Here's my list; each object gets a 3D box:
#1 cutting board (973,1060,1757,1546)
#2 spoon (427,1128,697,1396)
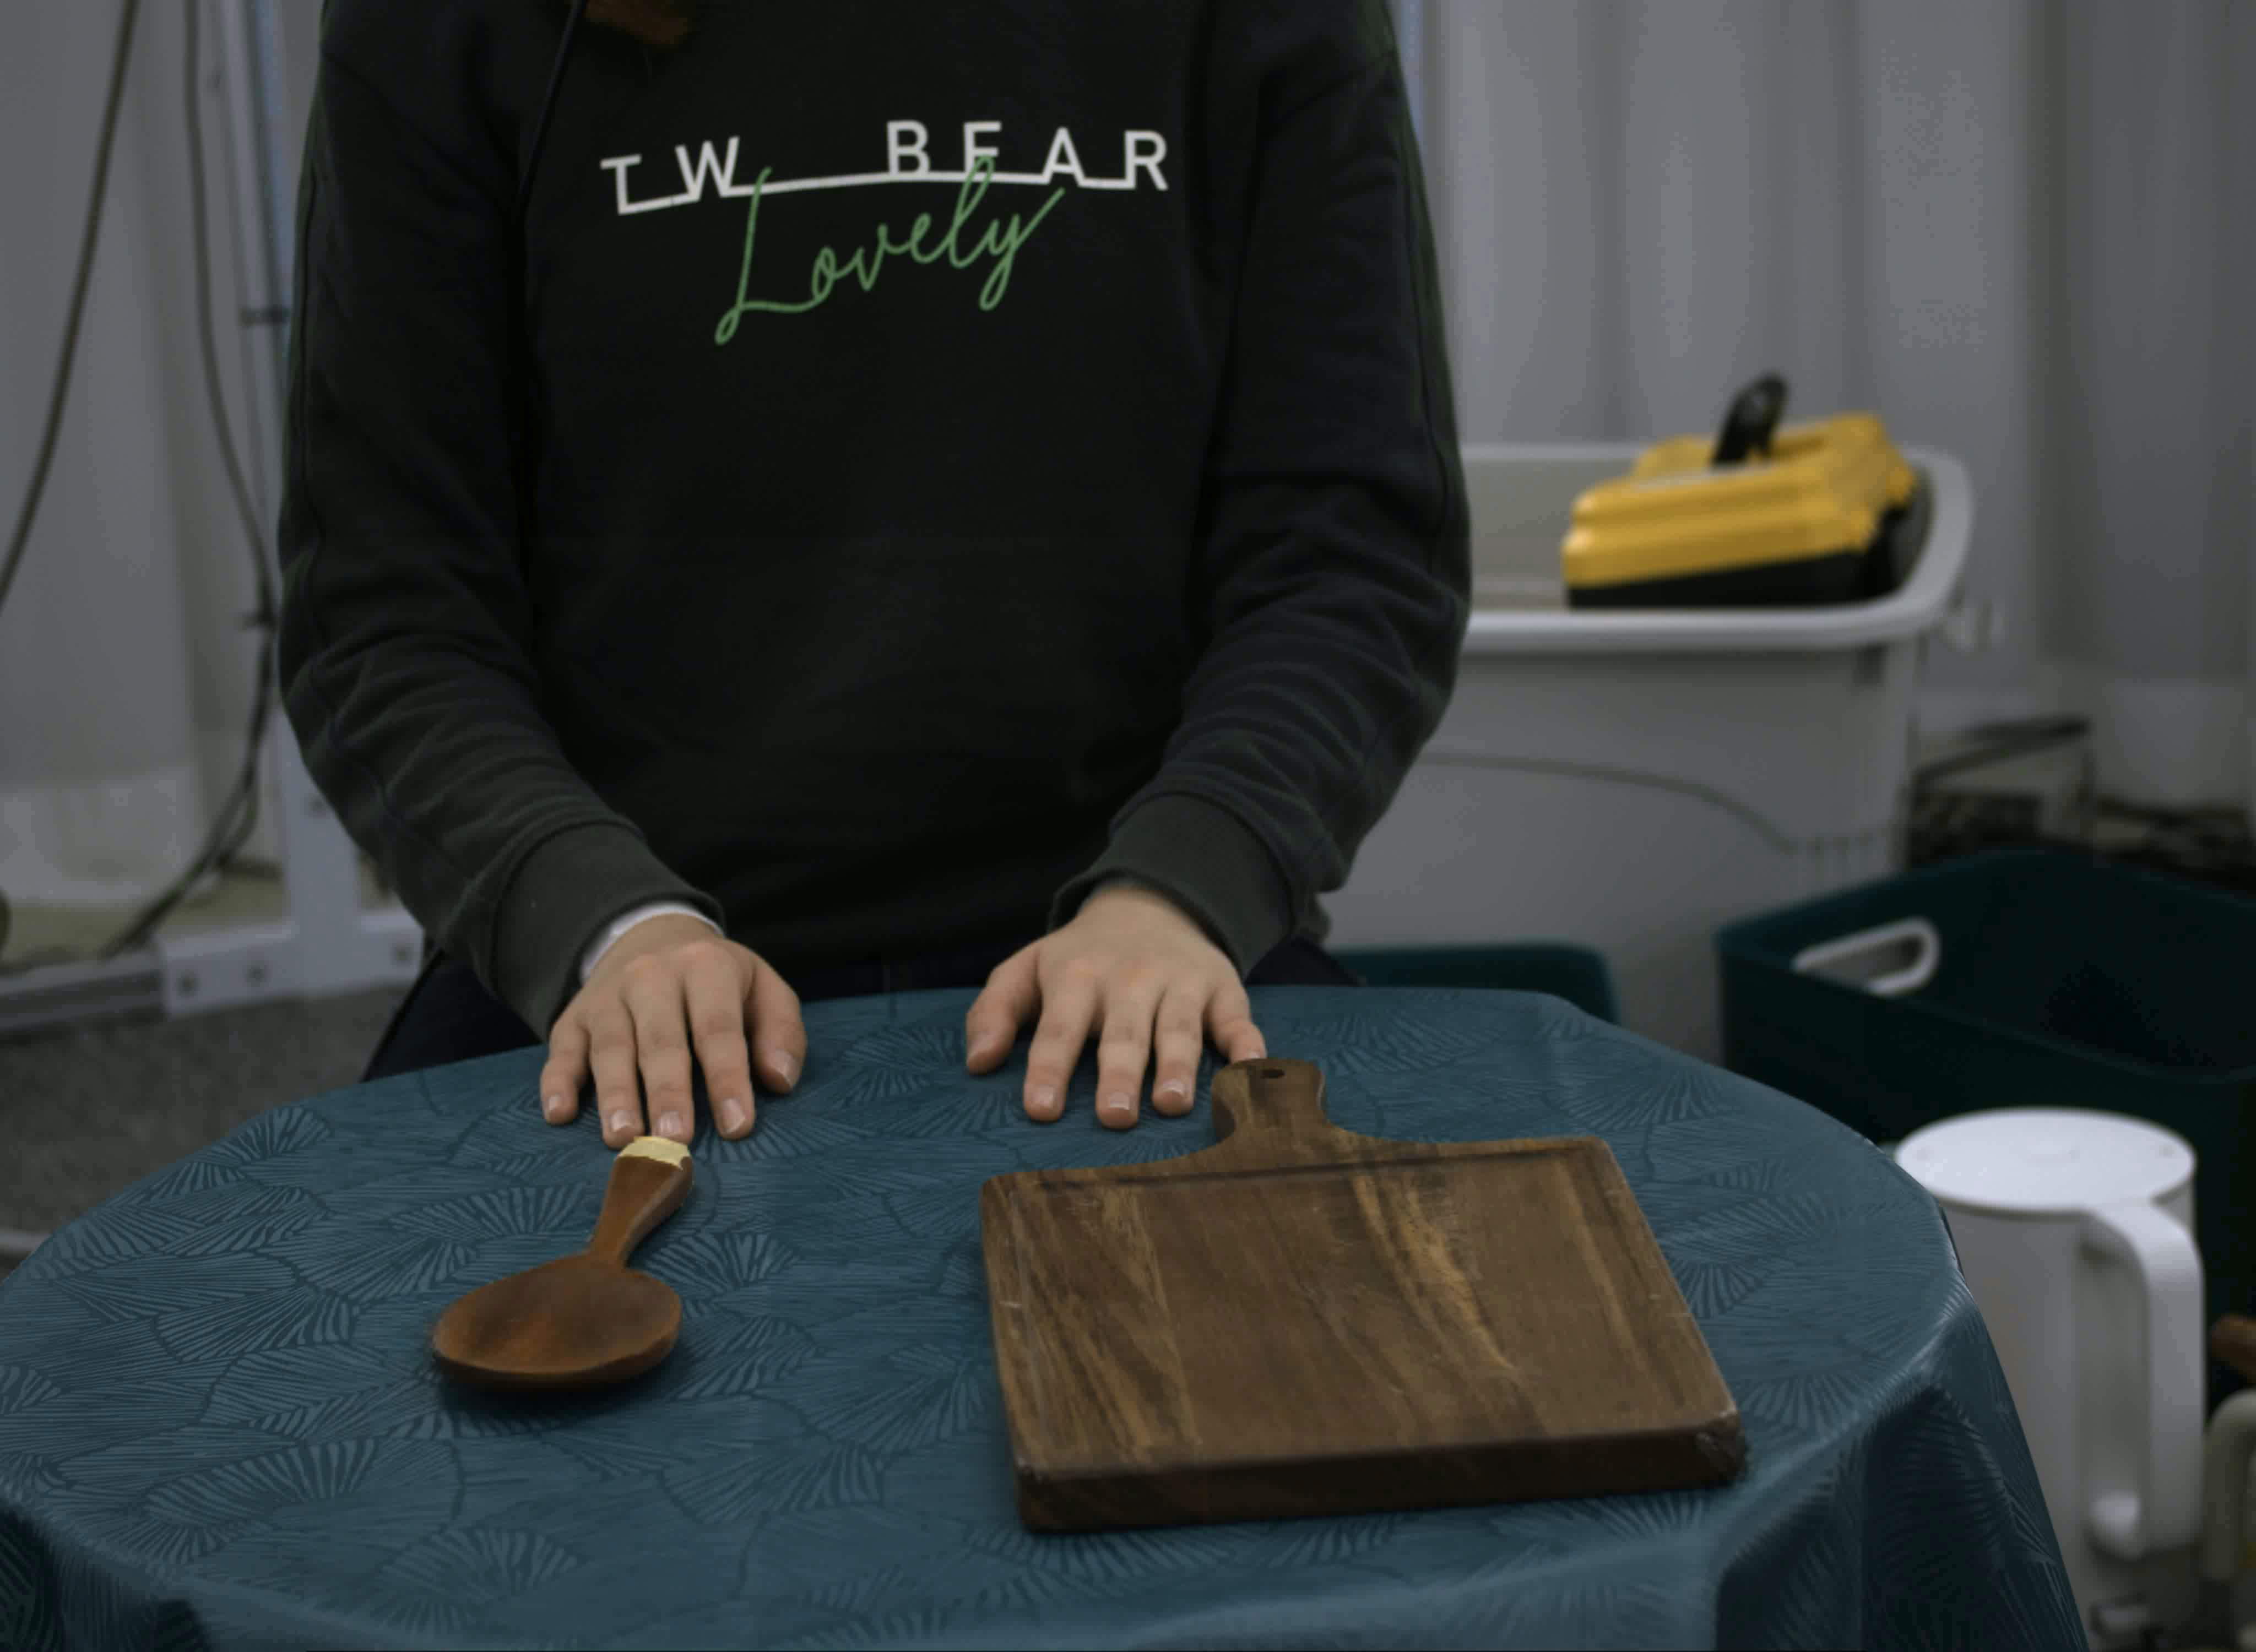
[{"bbox_3d":[0.057,0.130,1.611,0.200,0.023,0.354,-4,15,-3],"label":"cutting board"},{"bbox_3d":[-0.158,0.132,1.644,0.075,0.017,0.217,-3,15,6],"label":"spoon"}]
